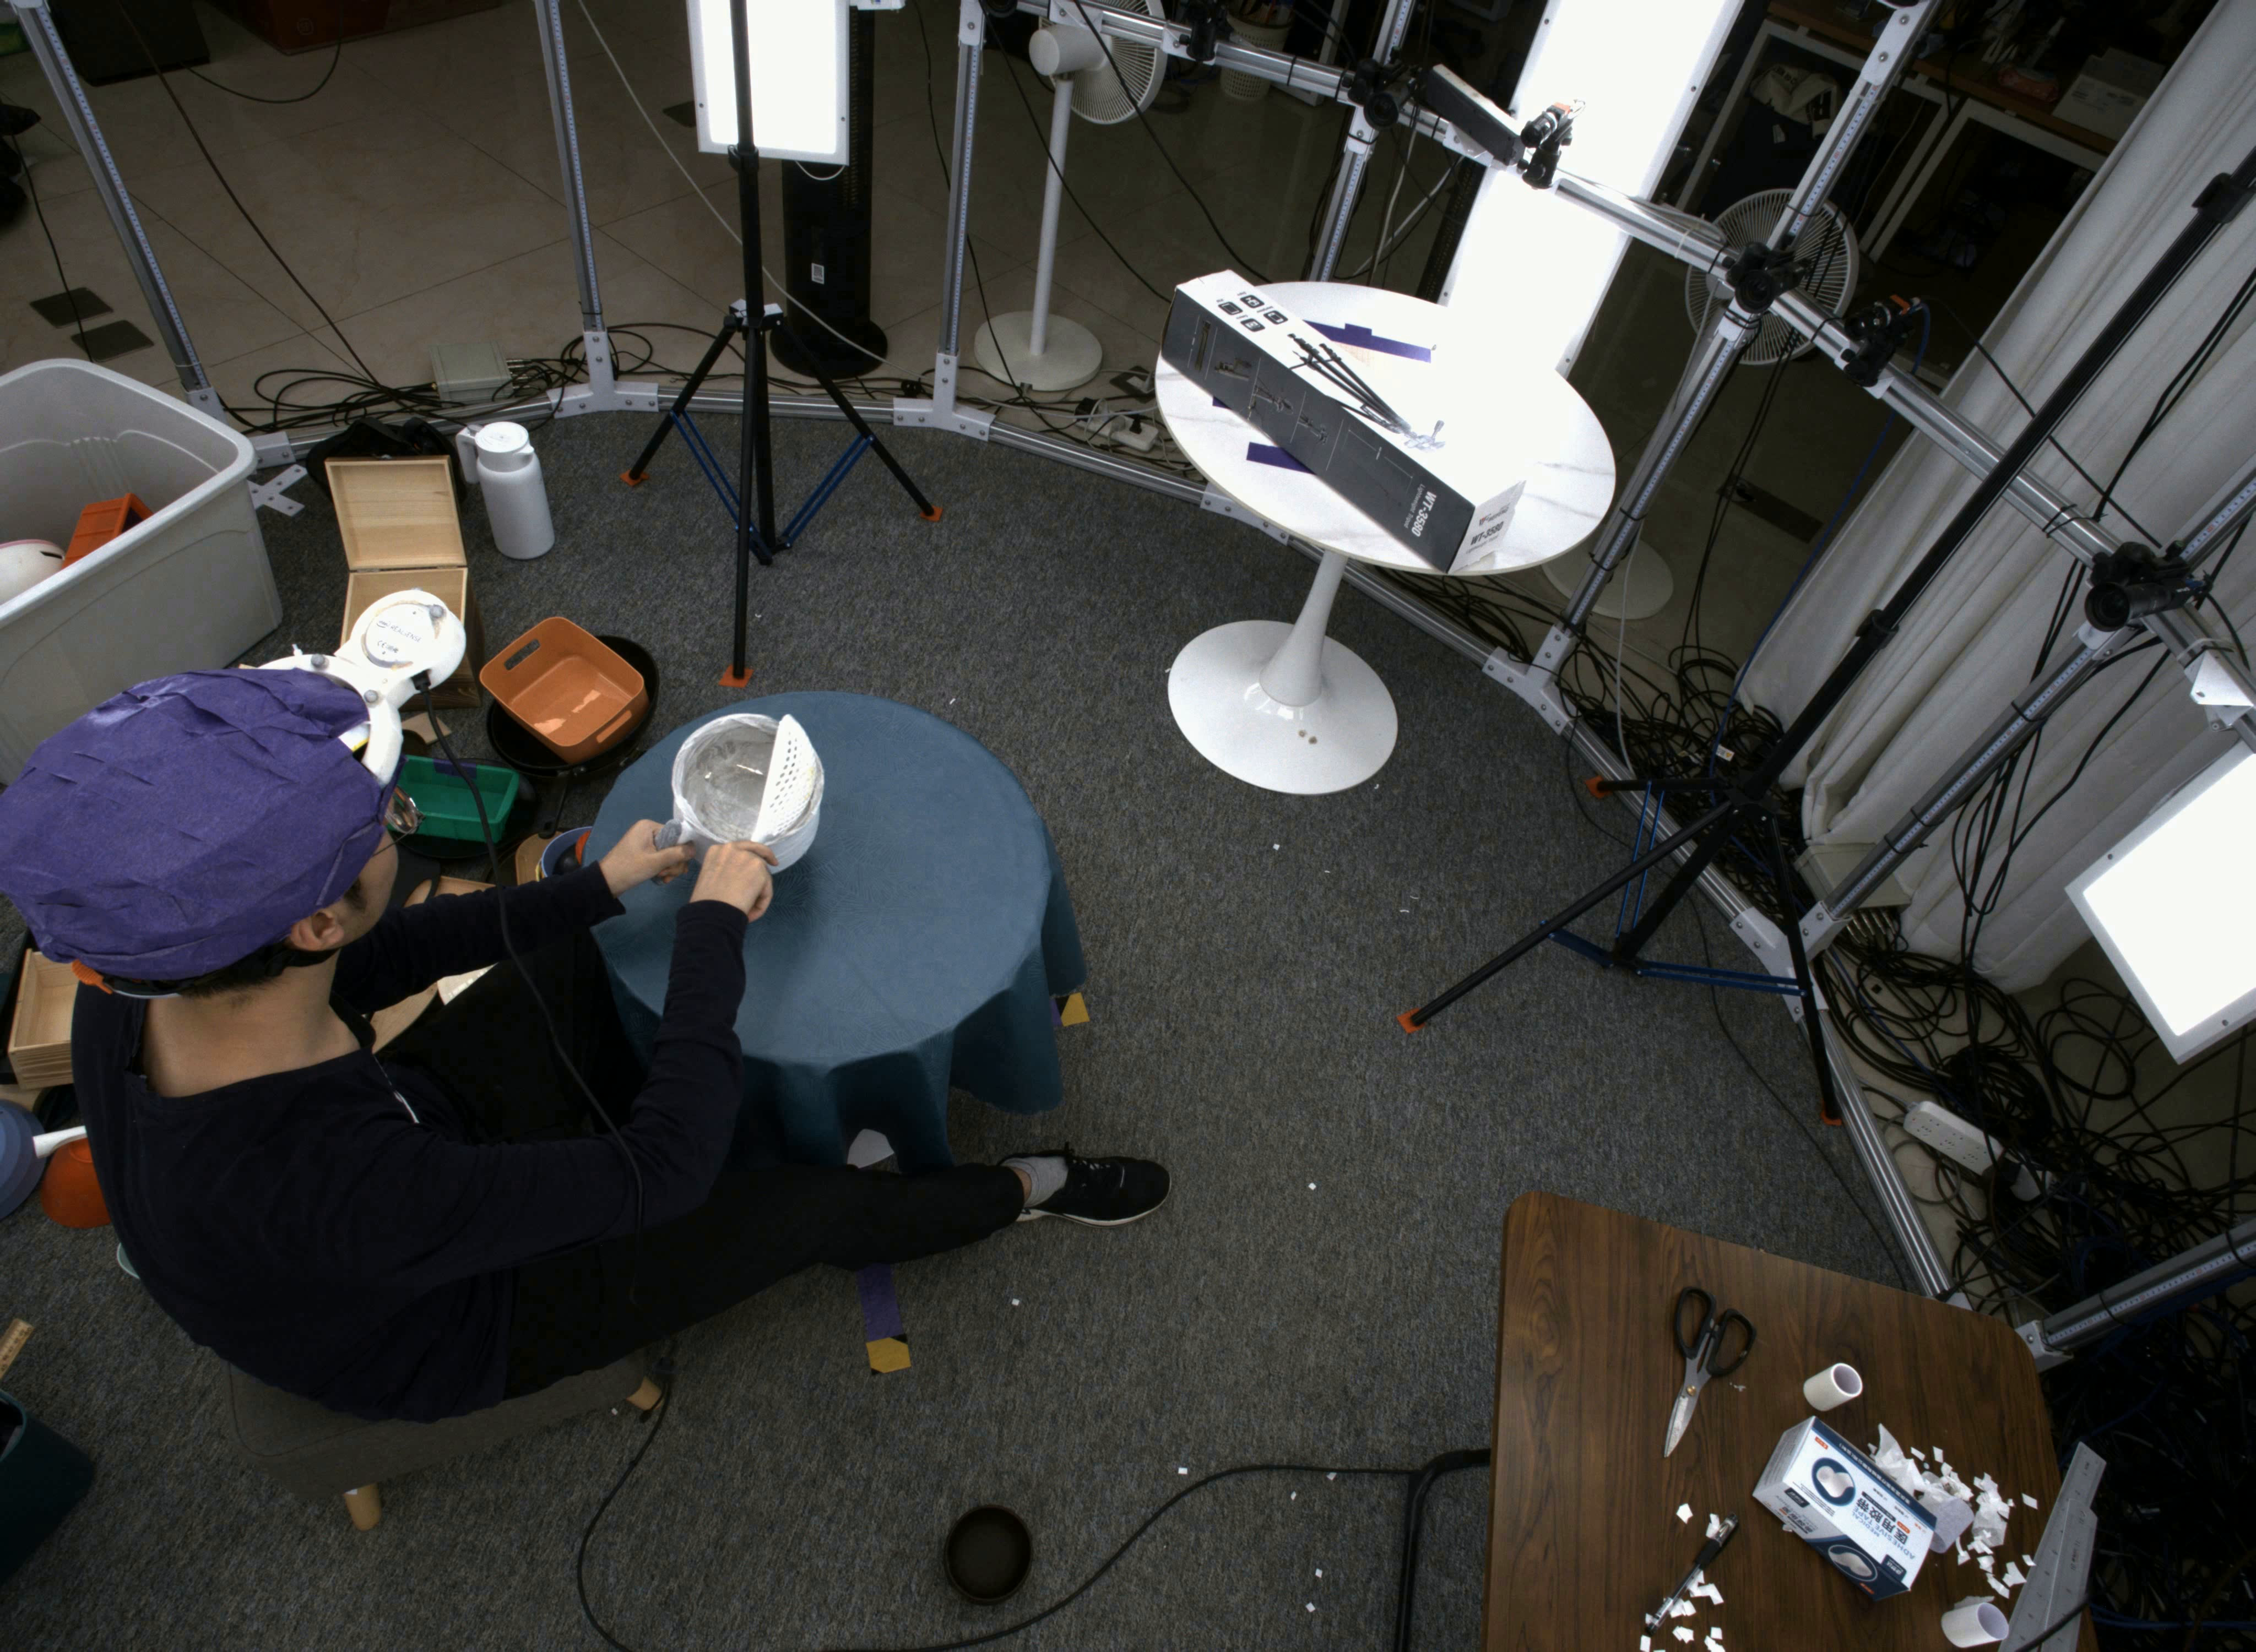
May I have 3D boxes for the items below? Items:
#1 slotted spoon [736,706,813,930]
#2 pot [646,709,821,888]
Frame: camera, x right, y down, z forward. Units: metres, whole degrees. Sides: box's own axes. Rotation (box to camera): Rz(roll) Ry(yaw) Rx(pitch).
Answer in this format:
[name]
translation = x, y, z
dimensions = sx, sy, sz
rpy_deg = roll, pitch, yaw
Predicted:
[slotted spoon]
translation = -0.403, -0.001, 1.447
dimensions = 0.050, 0.141, 0.341
rpy_deg = 7, 38, 0
[pot]
translation = -0.488, -0.018, 1.579
dimensions = 0.177, 0.138, 0.234
rpy_deg = 45, 61, 8
